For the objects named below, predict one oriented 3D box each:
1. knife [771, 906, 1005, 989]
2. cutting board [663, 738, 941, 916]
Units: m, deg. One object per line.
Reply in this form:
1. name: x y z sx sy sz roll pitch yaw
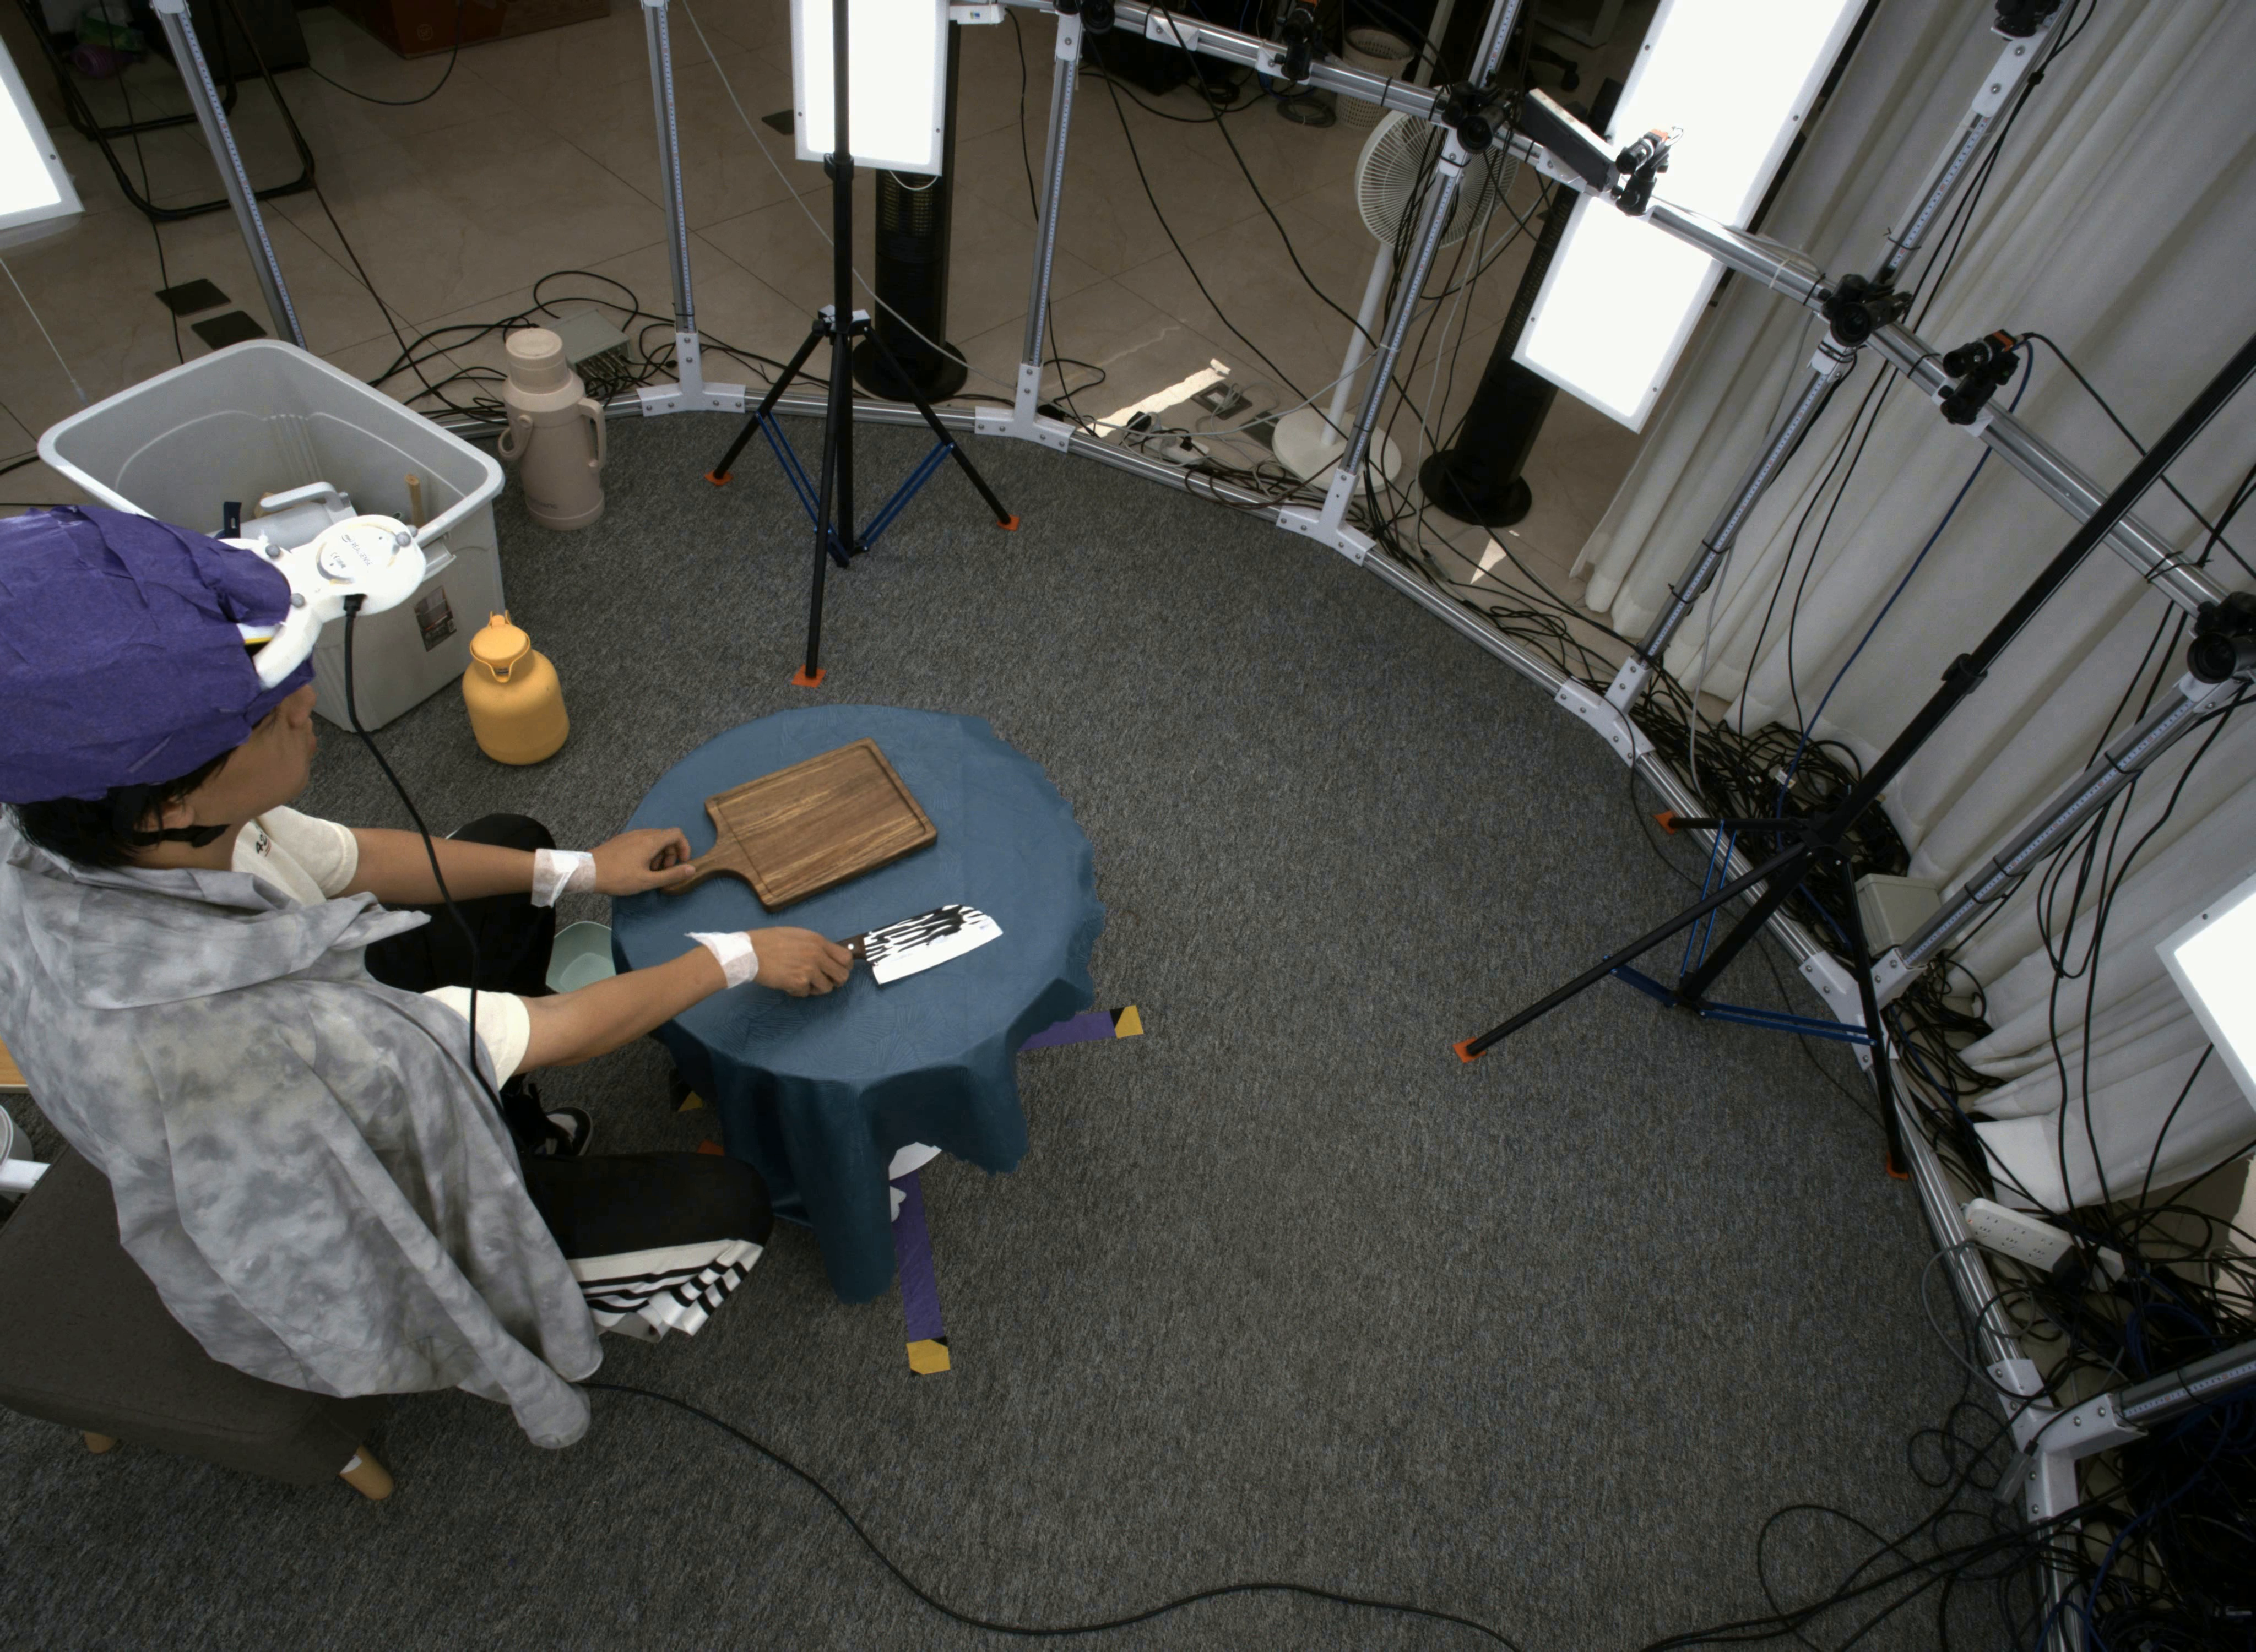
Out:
1. knife: -0.292 0.157 1.616 0.301 0.024 0.068 -18 82 -29
2. cutting board: -0.442 0.012 1.700 0.353 0.023 0.196 -25 63 -28
